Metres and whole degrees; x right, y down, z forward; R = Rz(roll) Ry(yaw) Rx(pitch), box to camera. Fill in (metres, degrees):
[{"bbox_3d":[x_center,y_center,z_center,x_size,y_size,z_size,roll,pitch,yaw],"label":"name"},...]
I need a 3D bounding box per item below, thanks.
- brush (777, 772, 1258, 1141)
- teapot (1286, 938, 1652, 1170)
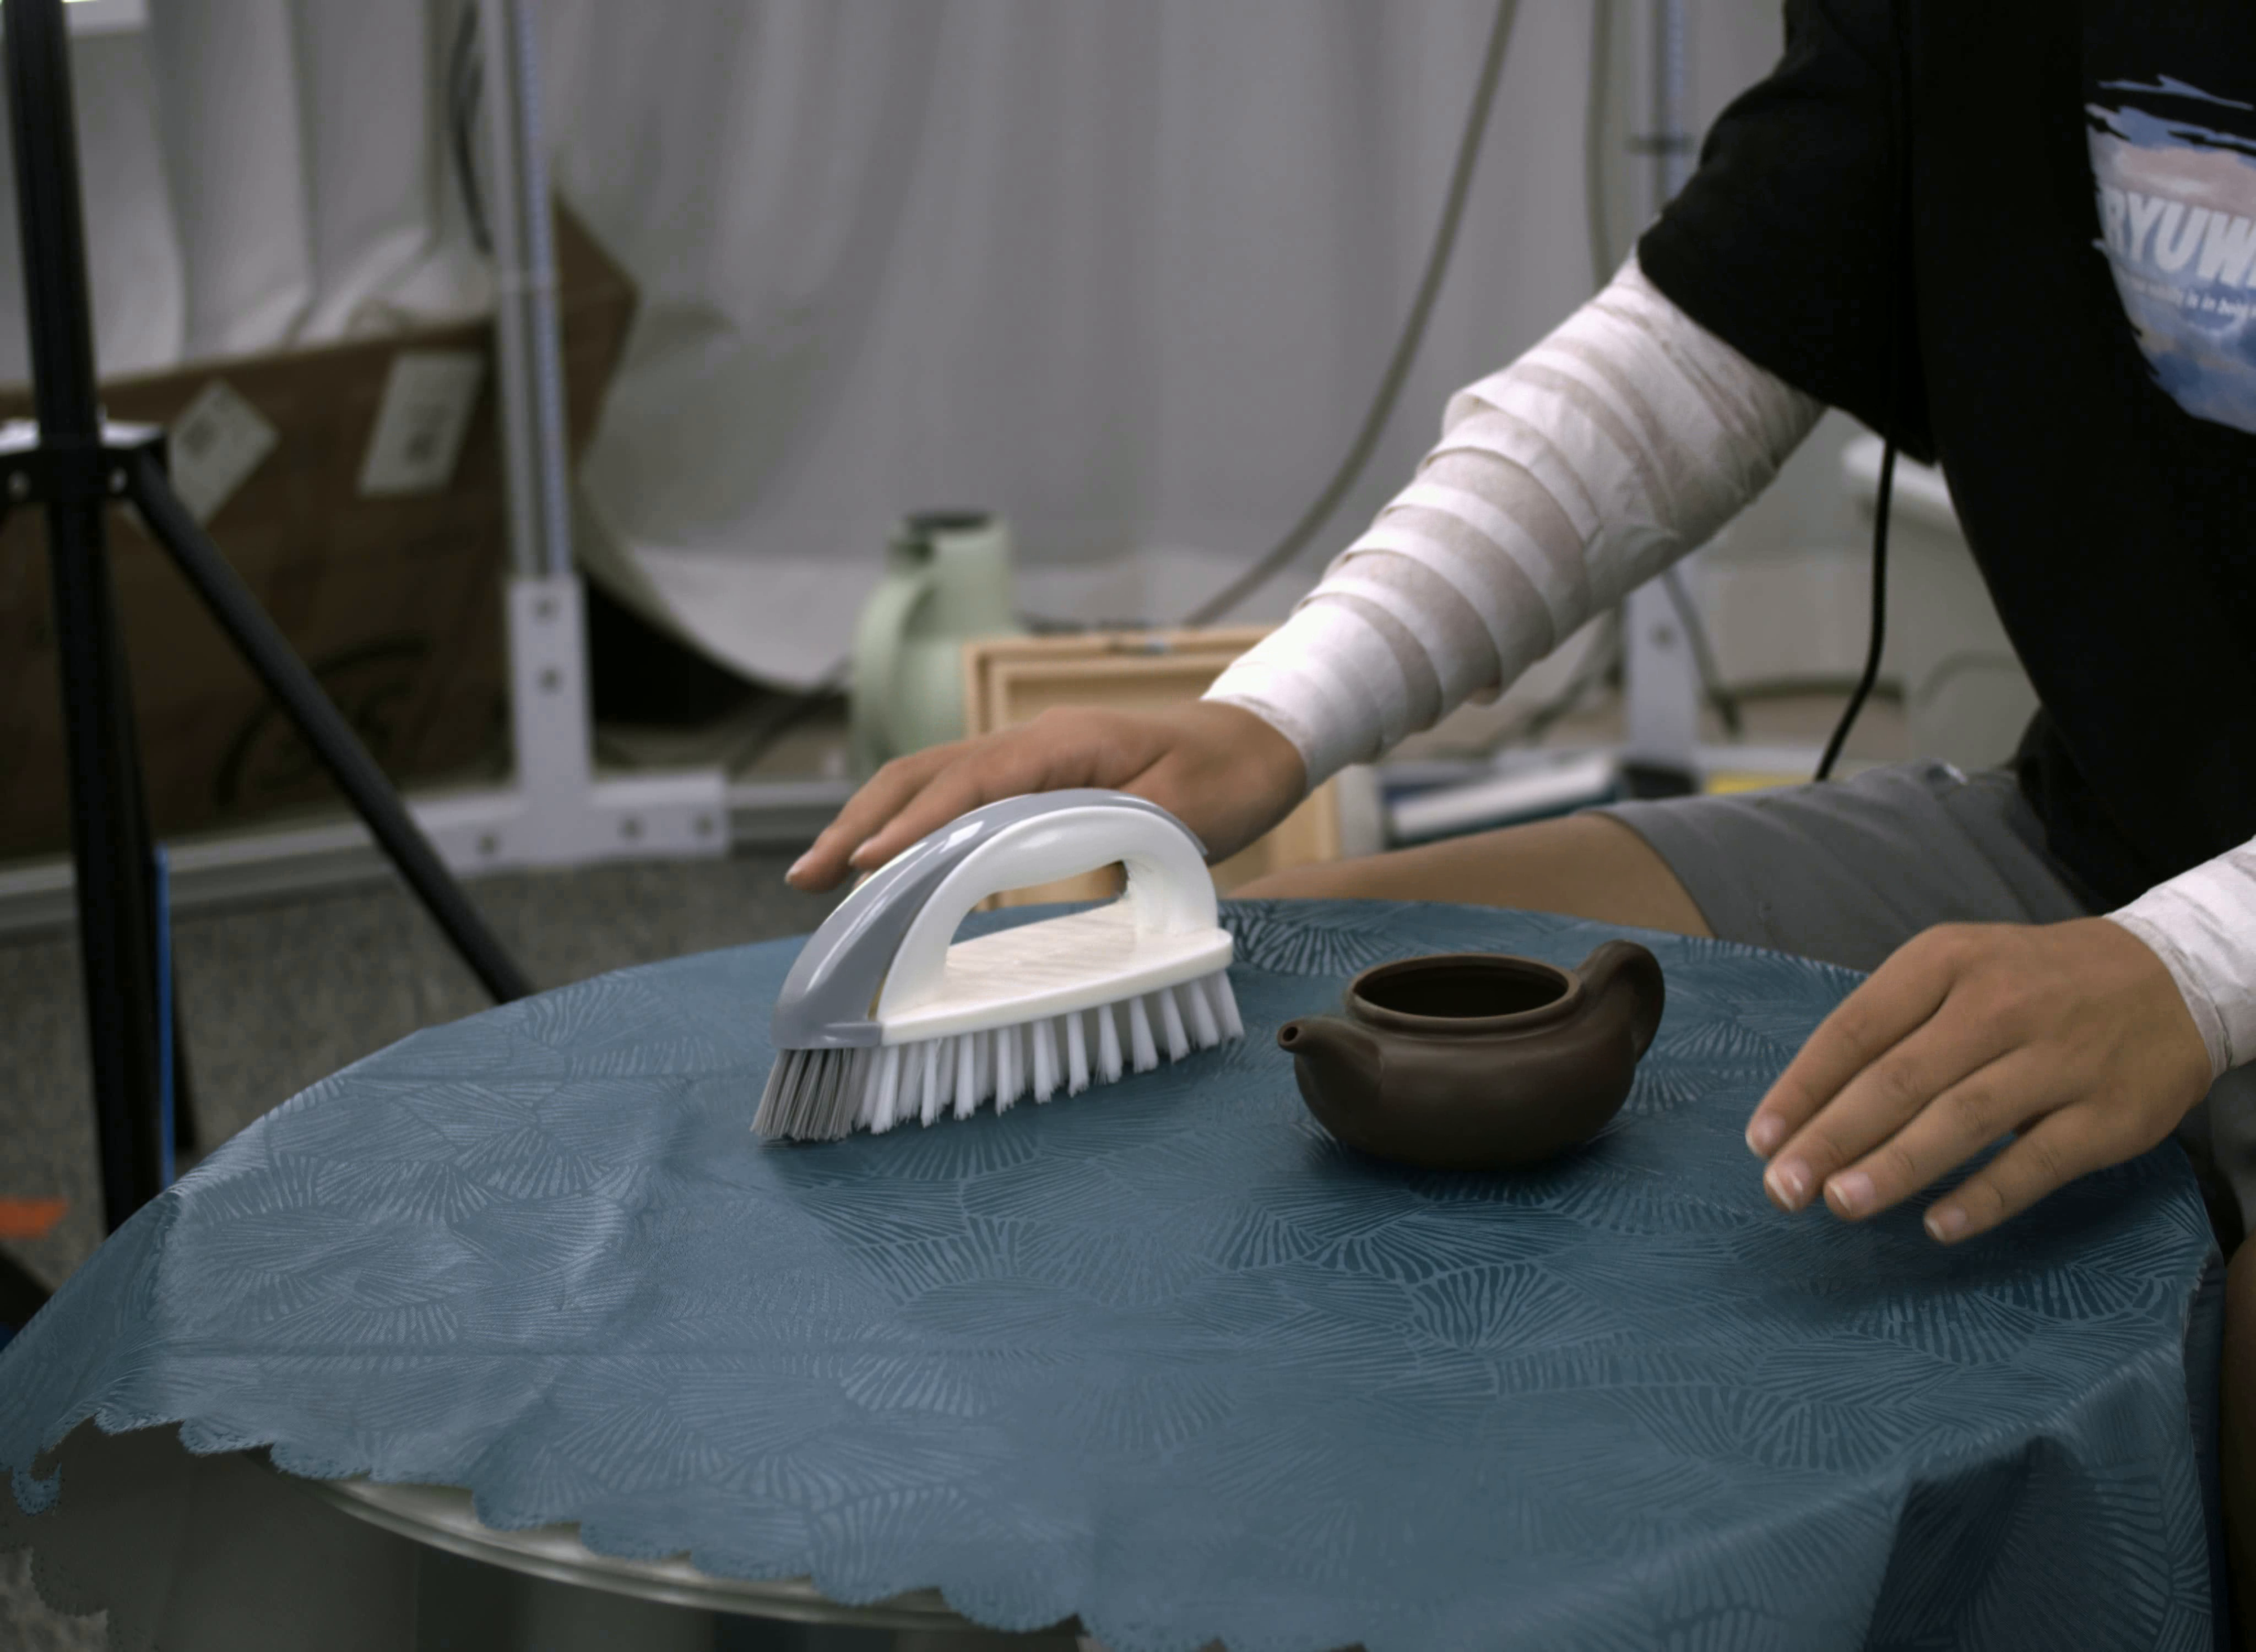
[{"bbox_3d":[-0.041,0.037,1.648,0.171,0.094,0.063,-16,16,-34],"label":"brush"},{"bbox_3d":[0.103,0.067,1.588,0.105,0.054,0.150,15,23,43],"label":"teapot"}]
